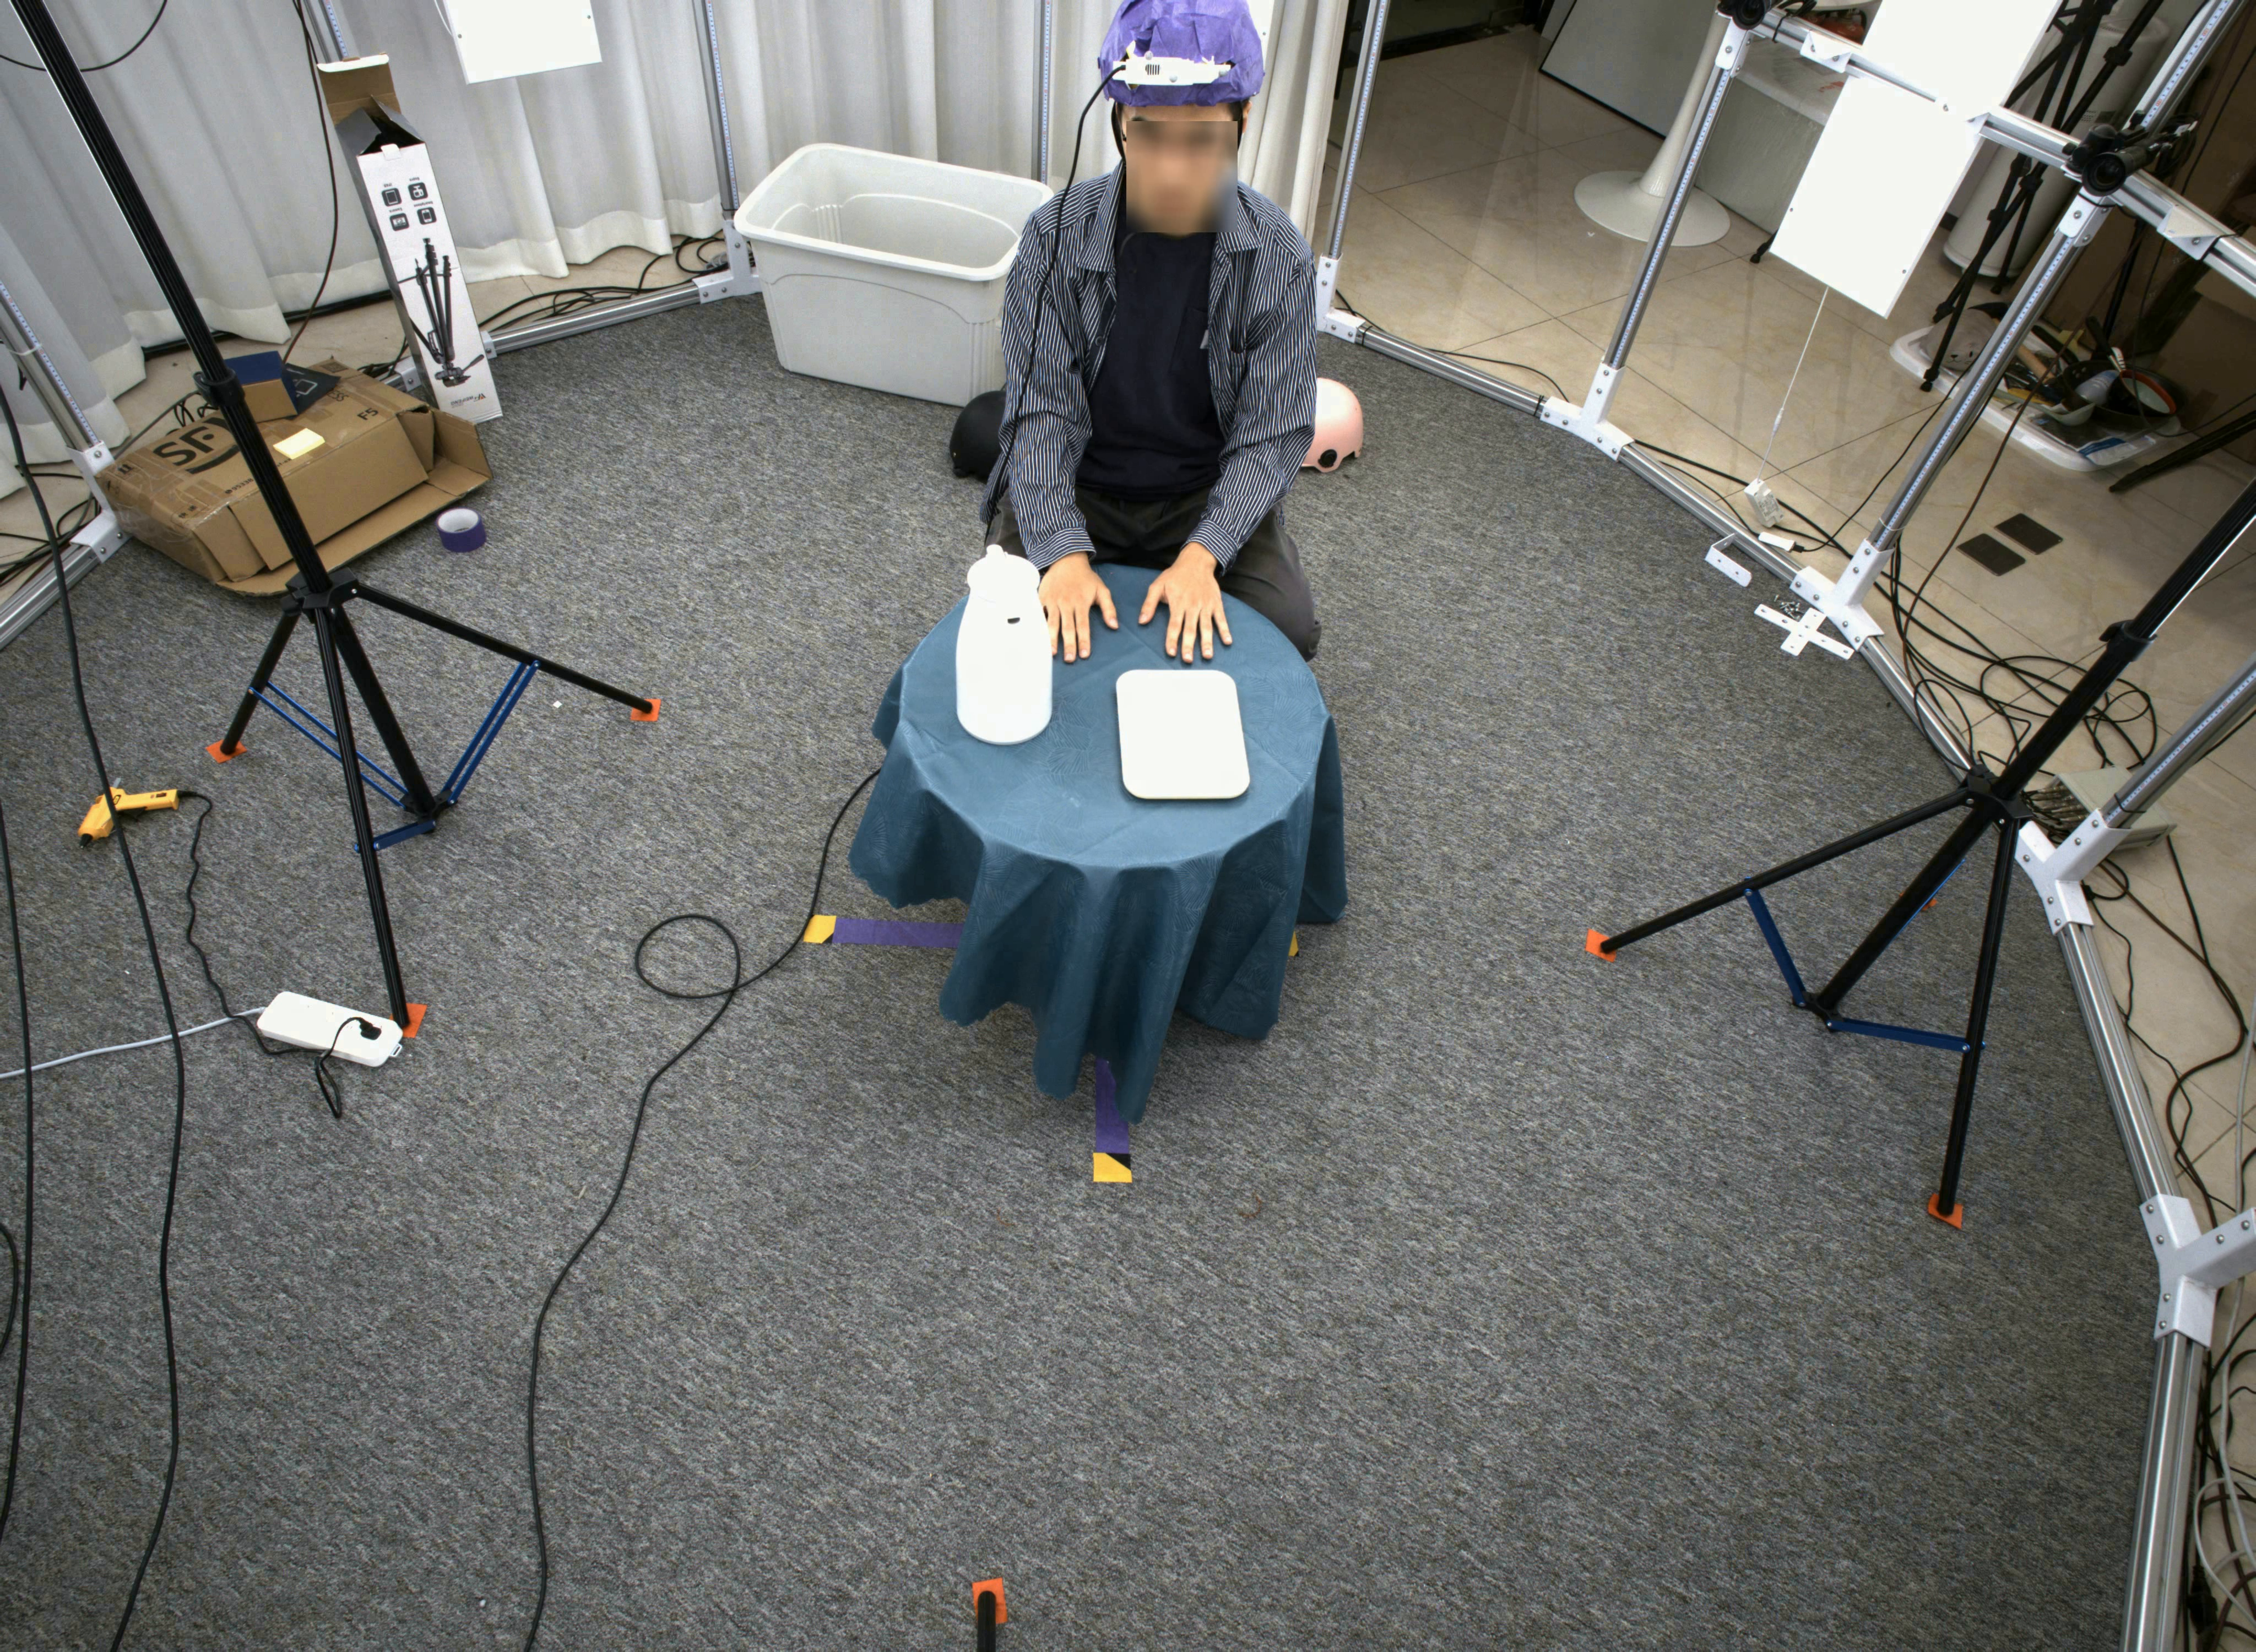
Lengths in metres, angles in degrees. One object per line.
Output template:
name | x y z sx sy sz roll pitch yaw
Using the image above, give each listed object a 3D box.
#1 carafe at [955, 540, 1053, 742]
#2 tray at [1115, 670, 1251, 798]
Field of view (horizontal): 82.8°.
carafe | -0.170 -0.256 1.704 0.132 0.242 0.172 -14 50 -16
tray | 0.072 -0.127 1.764 0.171 0.017 0.246 0 48 -6
